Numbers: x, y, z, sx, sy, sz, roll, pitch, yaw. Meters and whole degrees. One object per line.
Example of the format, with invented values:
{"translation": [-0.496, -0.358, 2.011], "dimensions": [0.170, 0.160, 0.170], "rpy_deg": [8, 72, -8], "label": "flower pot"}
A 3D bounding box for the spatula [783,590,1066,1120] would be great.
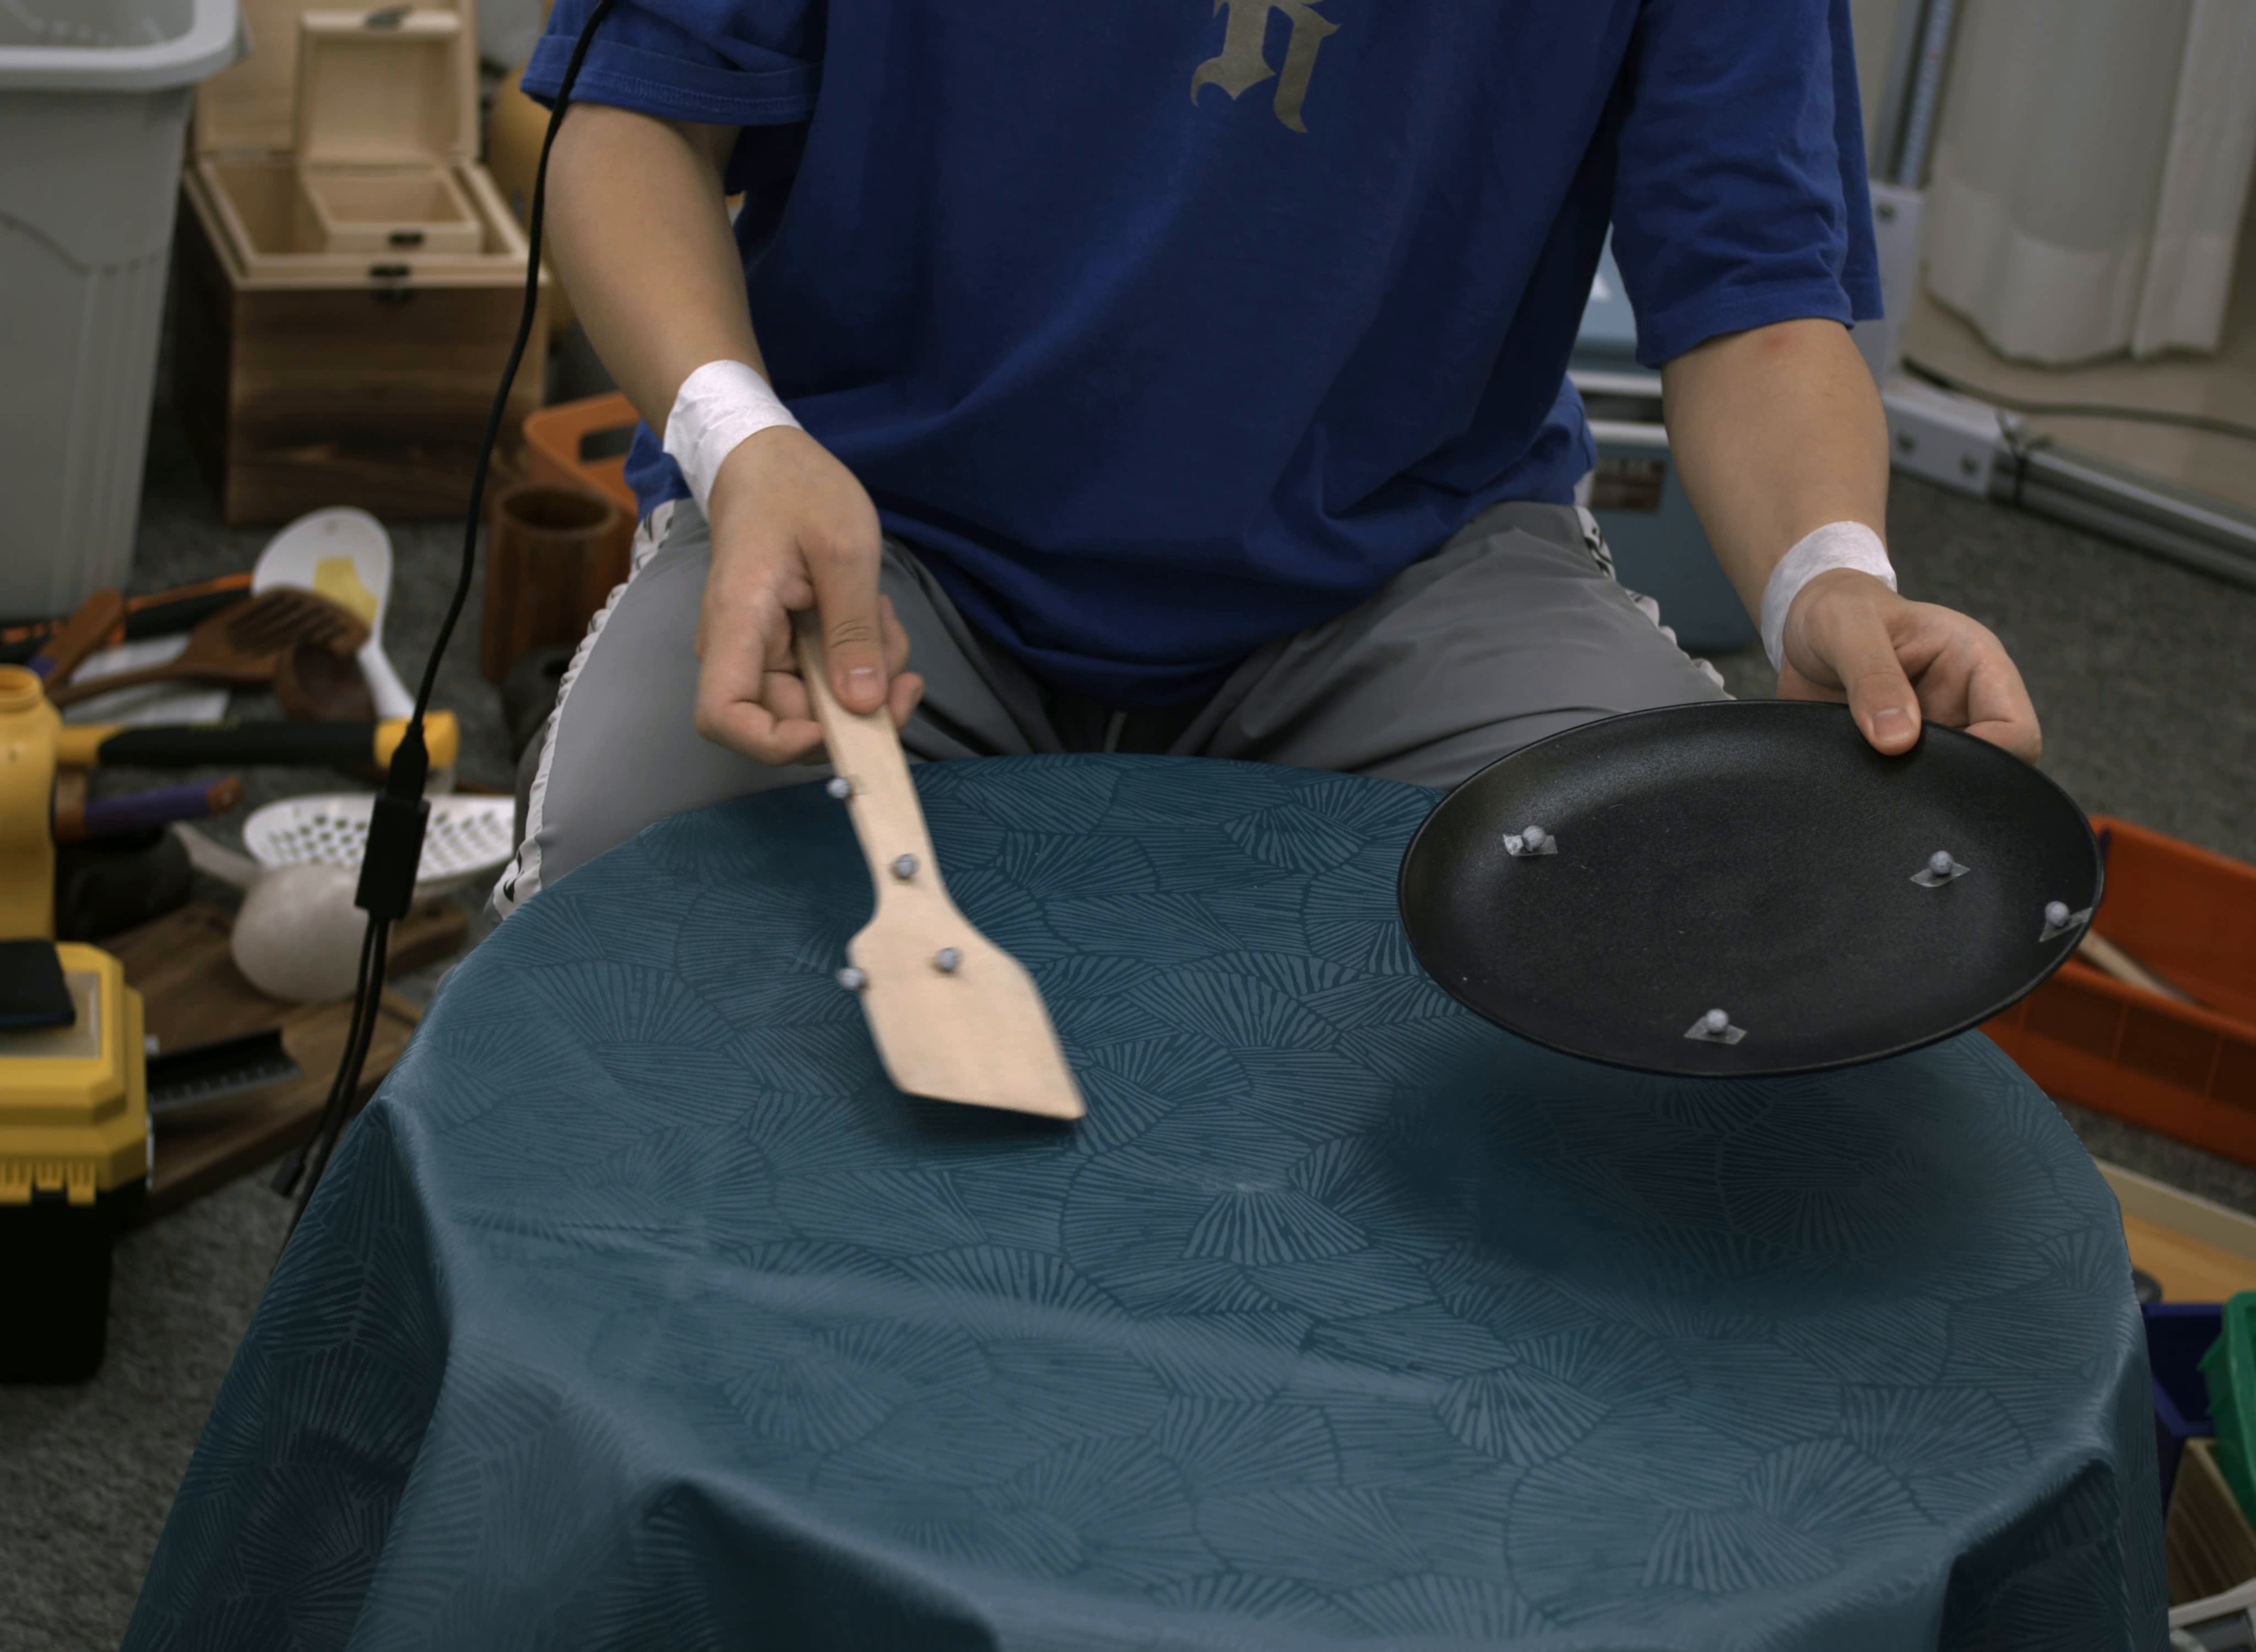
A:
{"translation": [-0.087, 0.005, 1.928], "dimensions": [0.071, 0.010, 0.296], "rpy_deg": [11, 35, -25], "label": "spatula"}

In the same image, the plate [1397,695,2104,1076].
{"translation": [0.214, 0.024, 1.841], "dimensions": [0.244, 0.023, 0.246], "rpy_deg": [-5, 31, 3], "label": "plate"}
